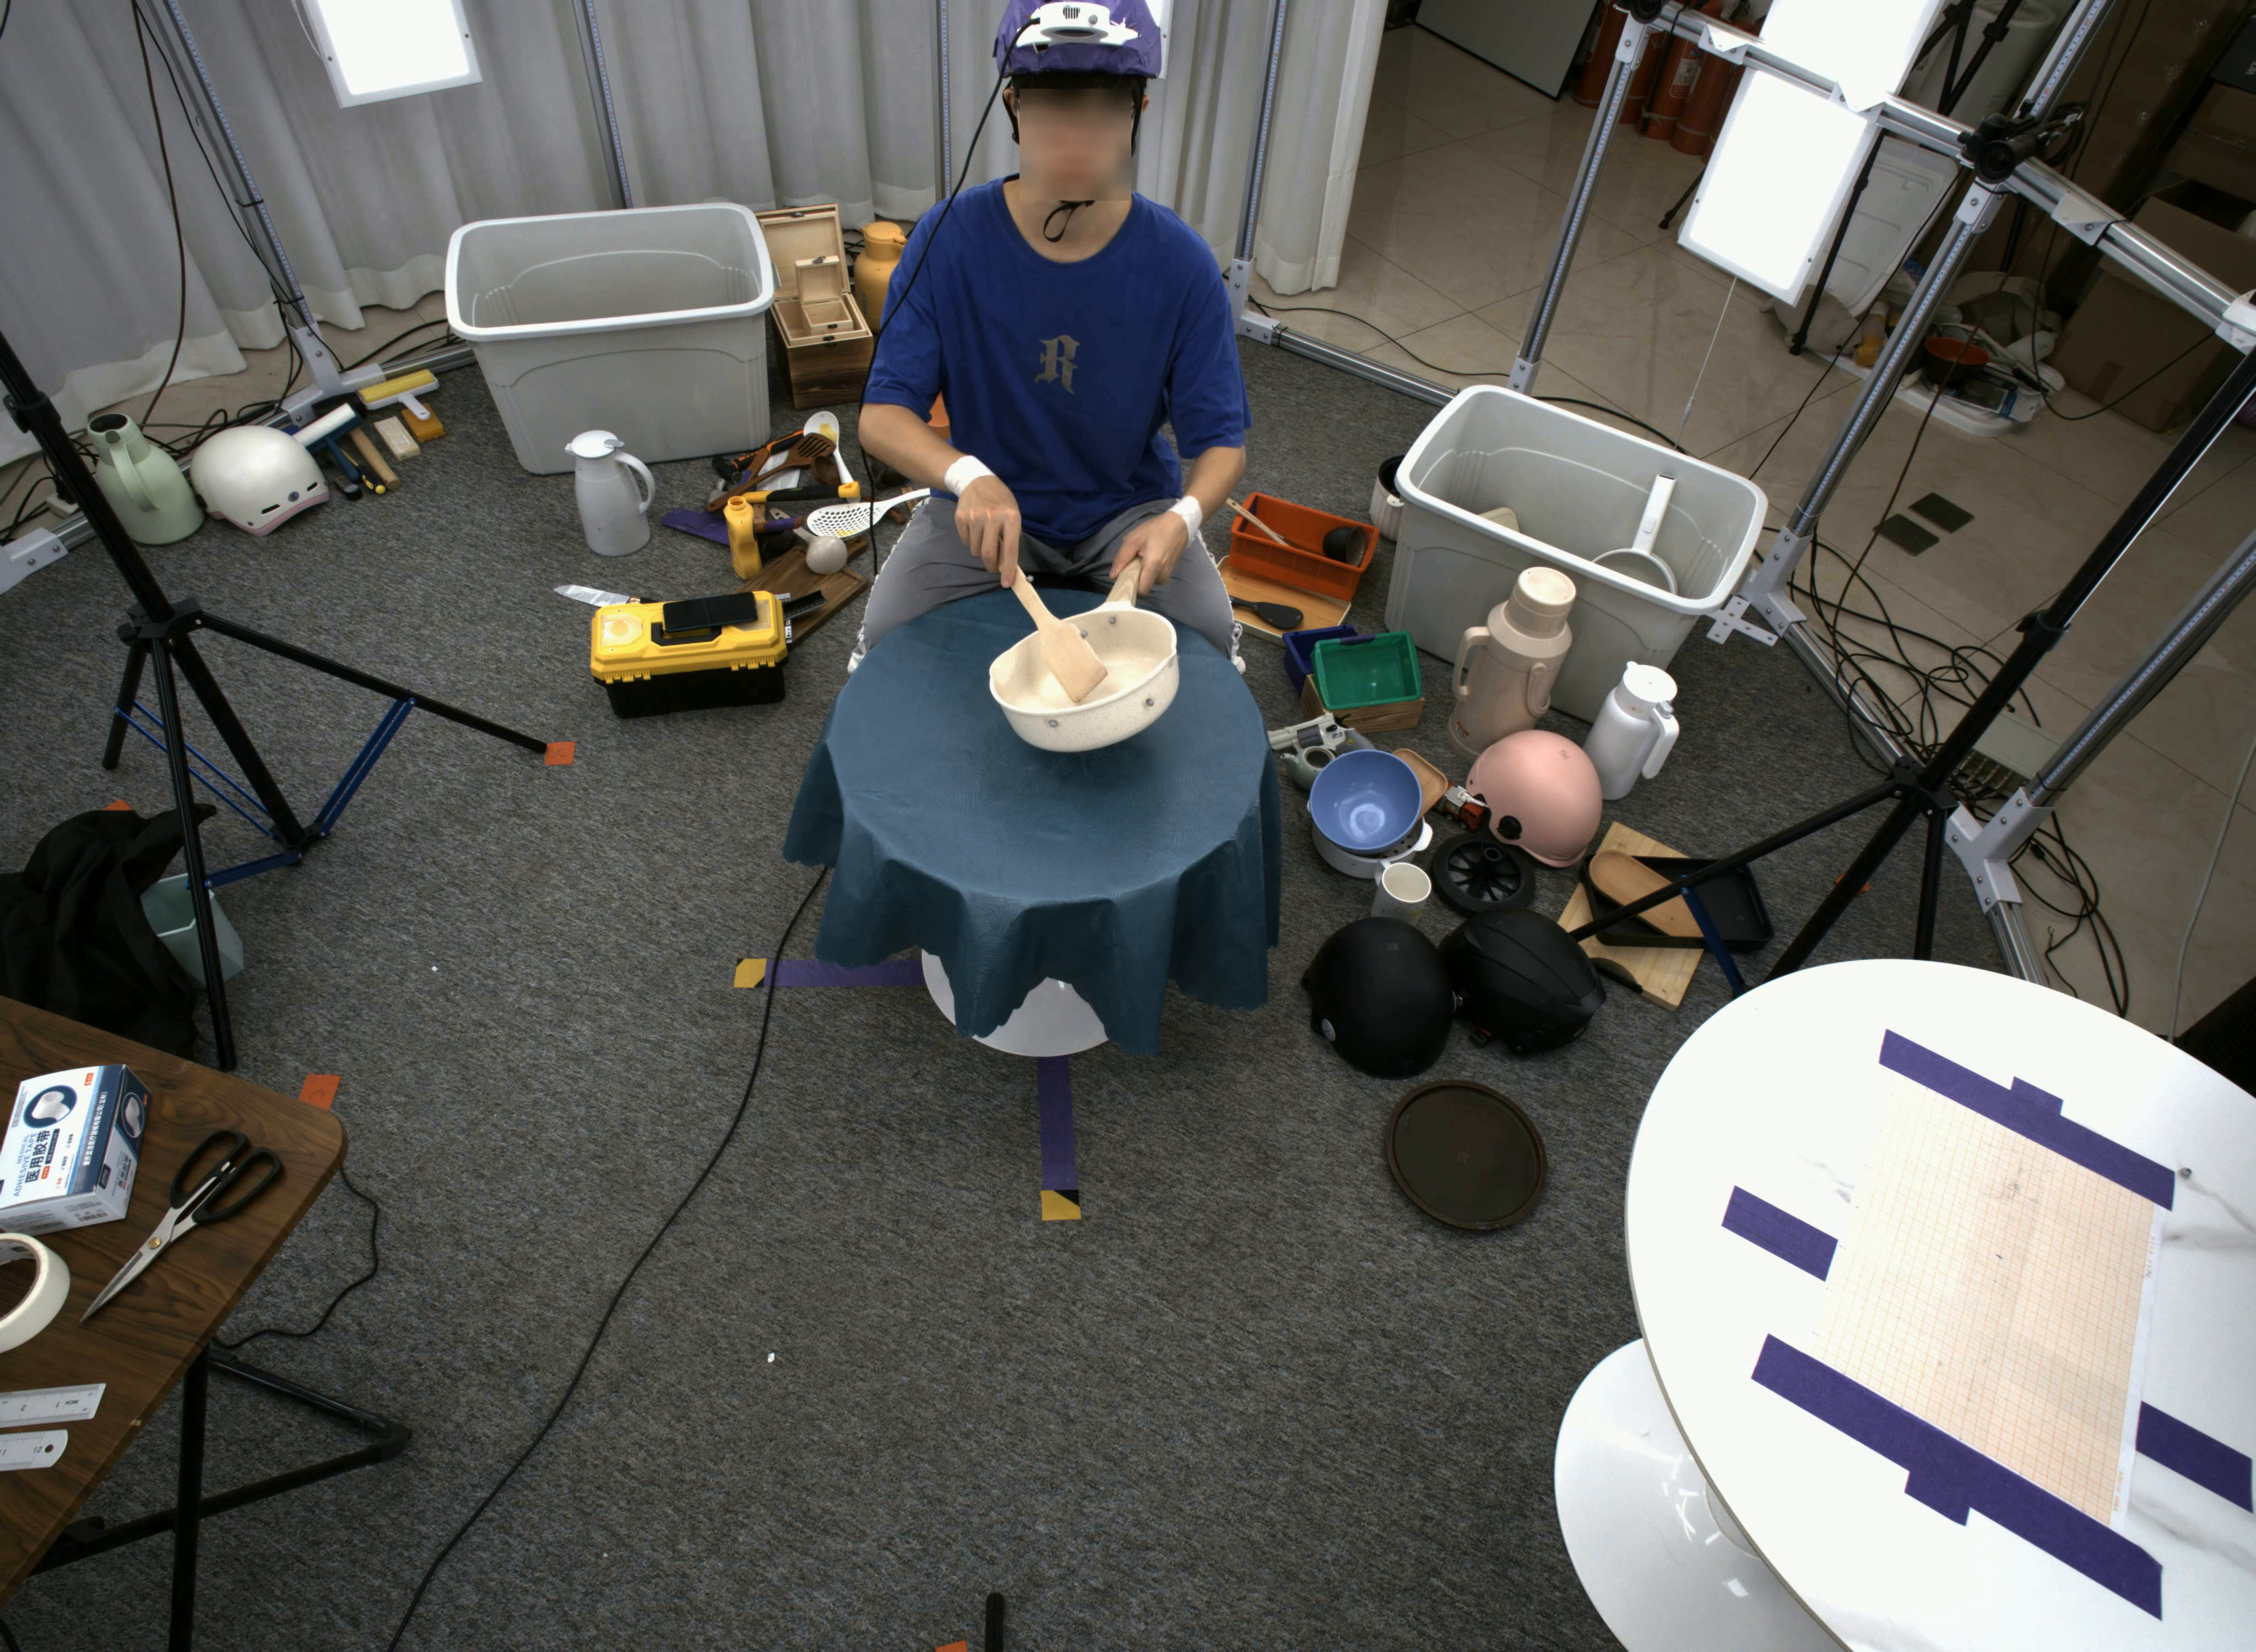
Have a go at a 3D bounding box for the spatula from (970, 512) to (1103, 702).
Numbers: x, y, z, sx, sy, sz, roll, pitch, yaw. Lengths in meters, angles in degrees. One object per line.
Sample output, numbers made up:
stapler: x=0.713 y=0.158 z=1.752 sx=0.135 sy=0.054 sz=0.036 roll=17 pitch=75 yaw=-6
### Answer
spatula: x=-0.130 y=-0.302 z=1.724 sx=0.010 sy=0.071 sz=0.296 roll=-15 pitch=68 yaw=-53

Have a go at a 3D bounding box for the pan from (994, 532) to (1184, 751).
pan: x=-0.019 y=-0.253 z=1.754 sx=0.264 sy=0.099 sz=0.444 roll=-3 pitch=38 yaw=24
